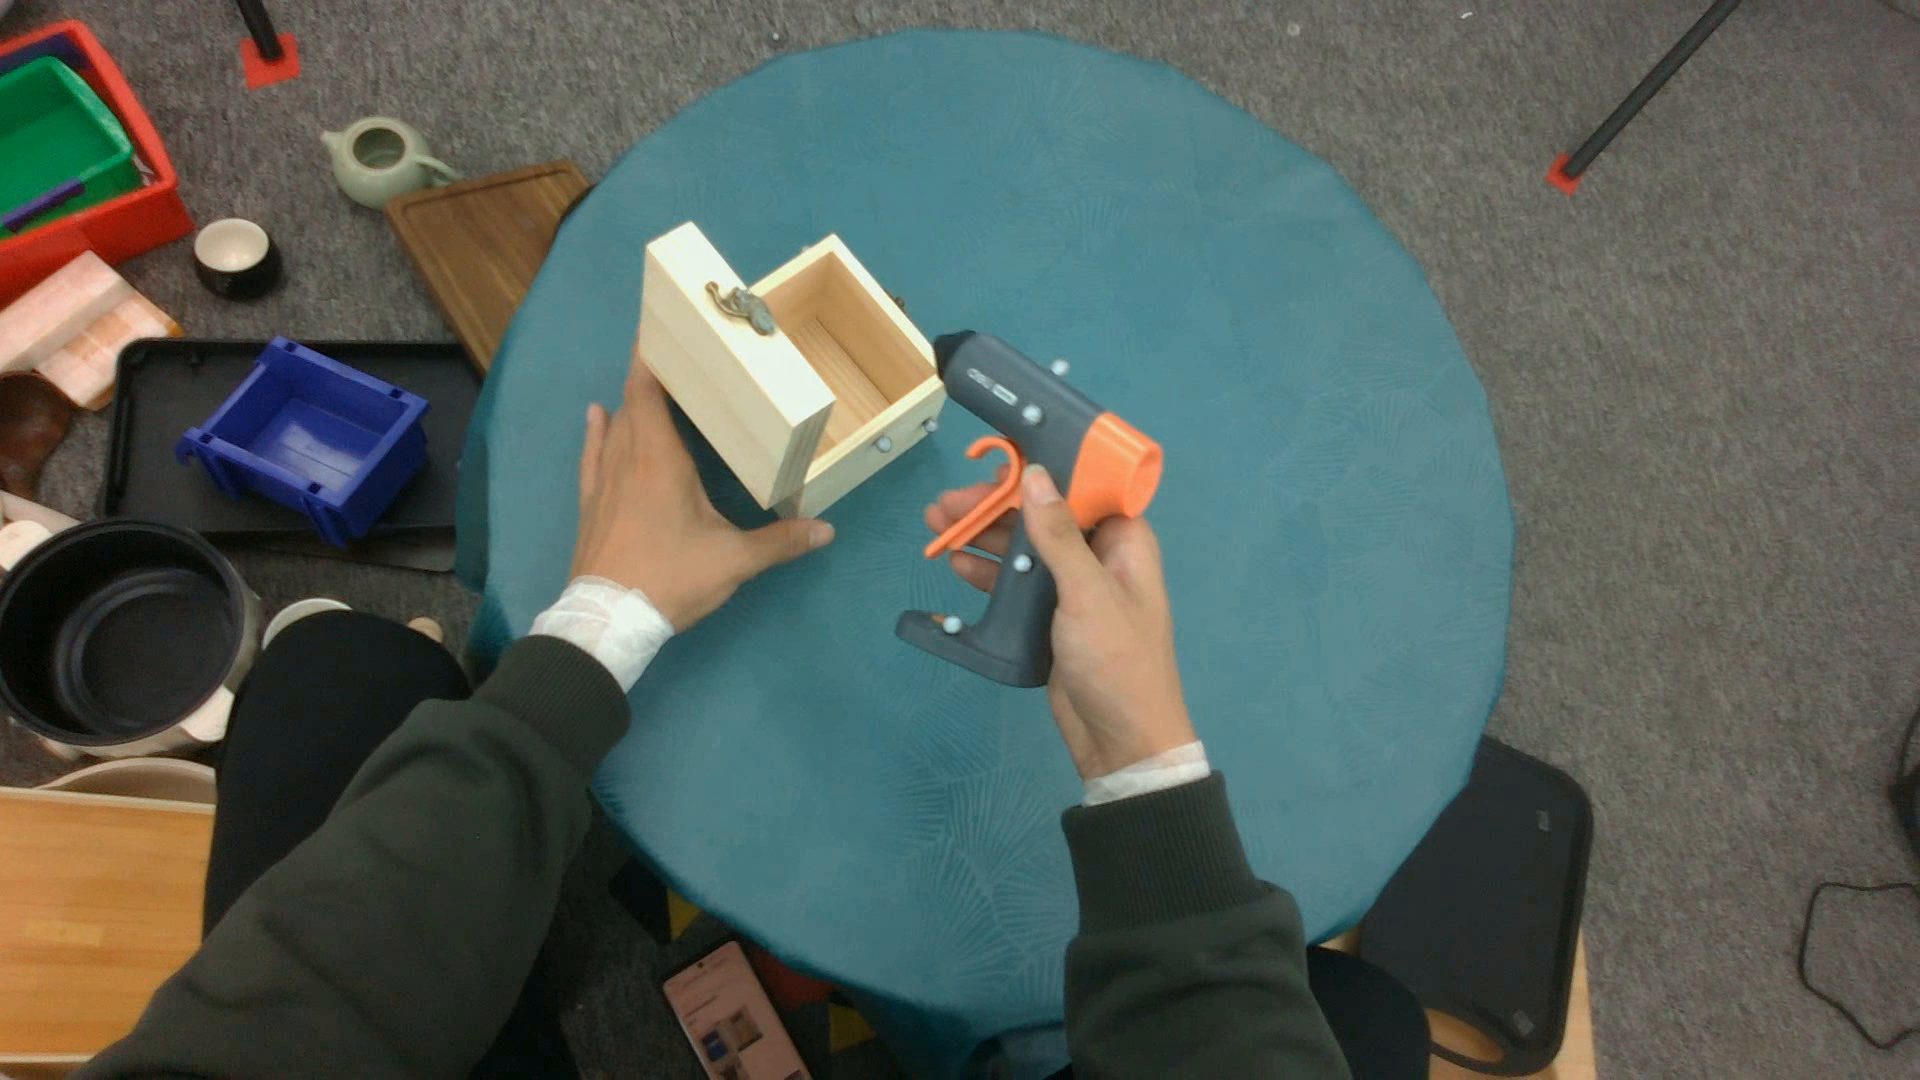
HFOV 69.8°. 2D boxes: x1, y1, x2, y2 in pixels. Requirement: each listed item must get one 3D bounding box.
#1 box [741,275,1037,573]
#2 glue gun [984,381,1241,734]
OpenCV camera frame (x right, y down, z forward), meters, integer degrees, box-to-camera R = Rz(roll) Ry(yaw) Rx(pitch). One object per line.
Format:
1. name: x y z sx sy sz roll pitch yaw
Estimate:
1. box: -0.030 -0.072 0.702 0.134 0.184 0.102 -36 79 -19
2. glue gun: 0.057 0.005 0.613 0.118 0.041 0.139 21 98 37
